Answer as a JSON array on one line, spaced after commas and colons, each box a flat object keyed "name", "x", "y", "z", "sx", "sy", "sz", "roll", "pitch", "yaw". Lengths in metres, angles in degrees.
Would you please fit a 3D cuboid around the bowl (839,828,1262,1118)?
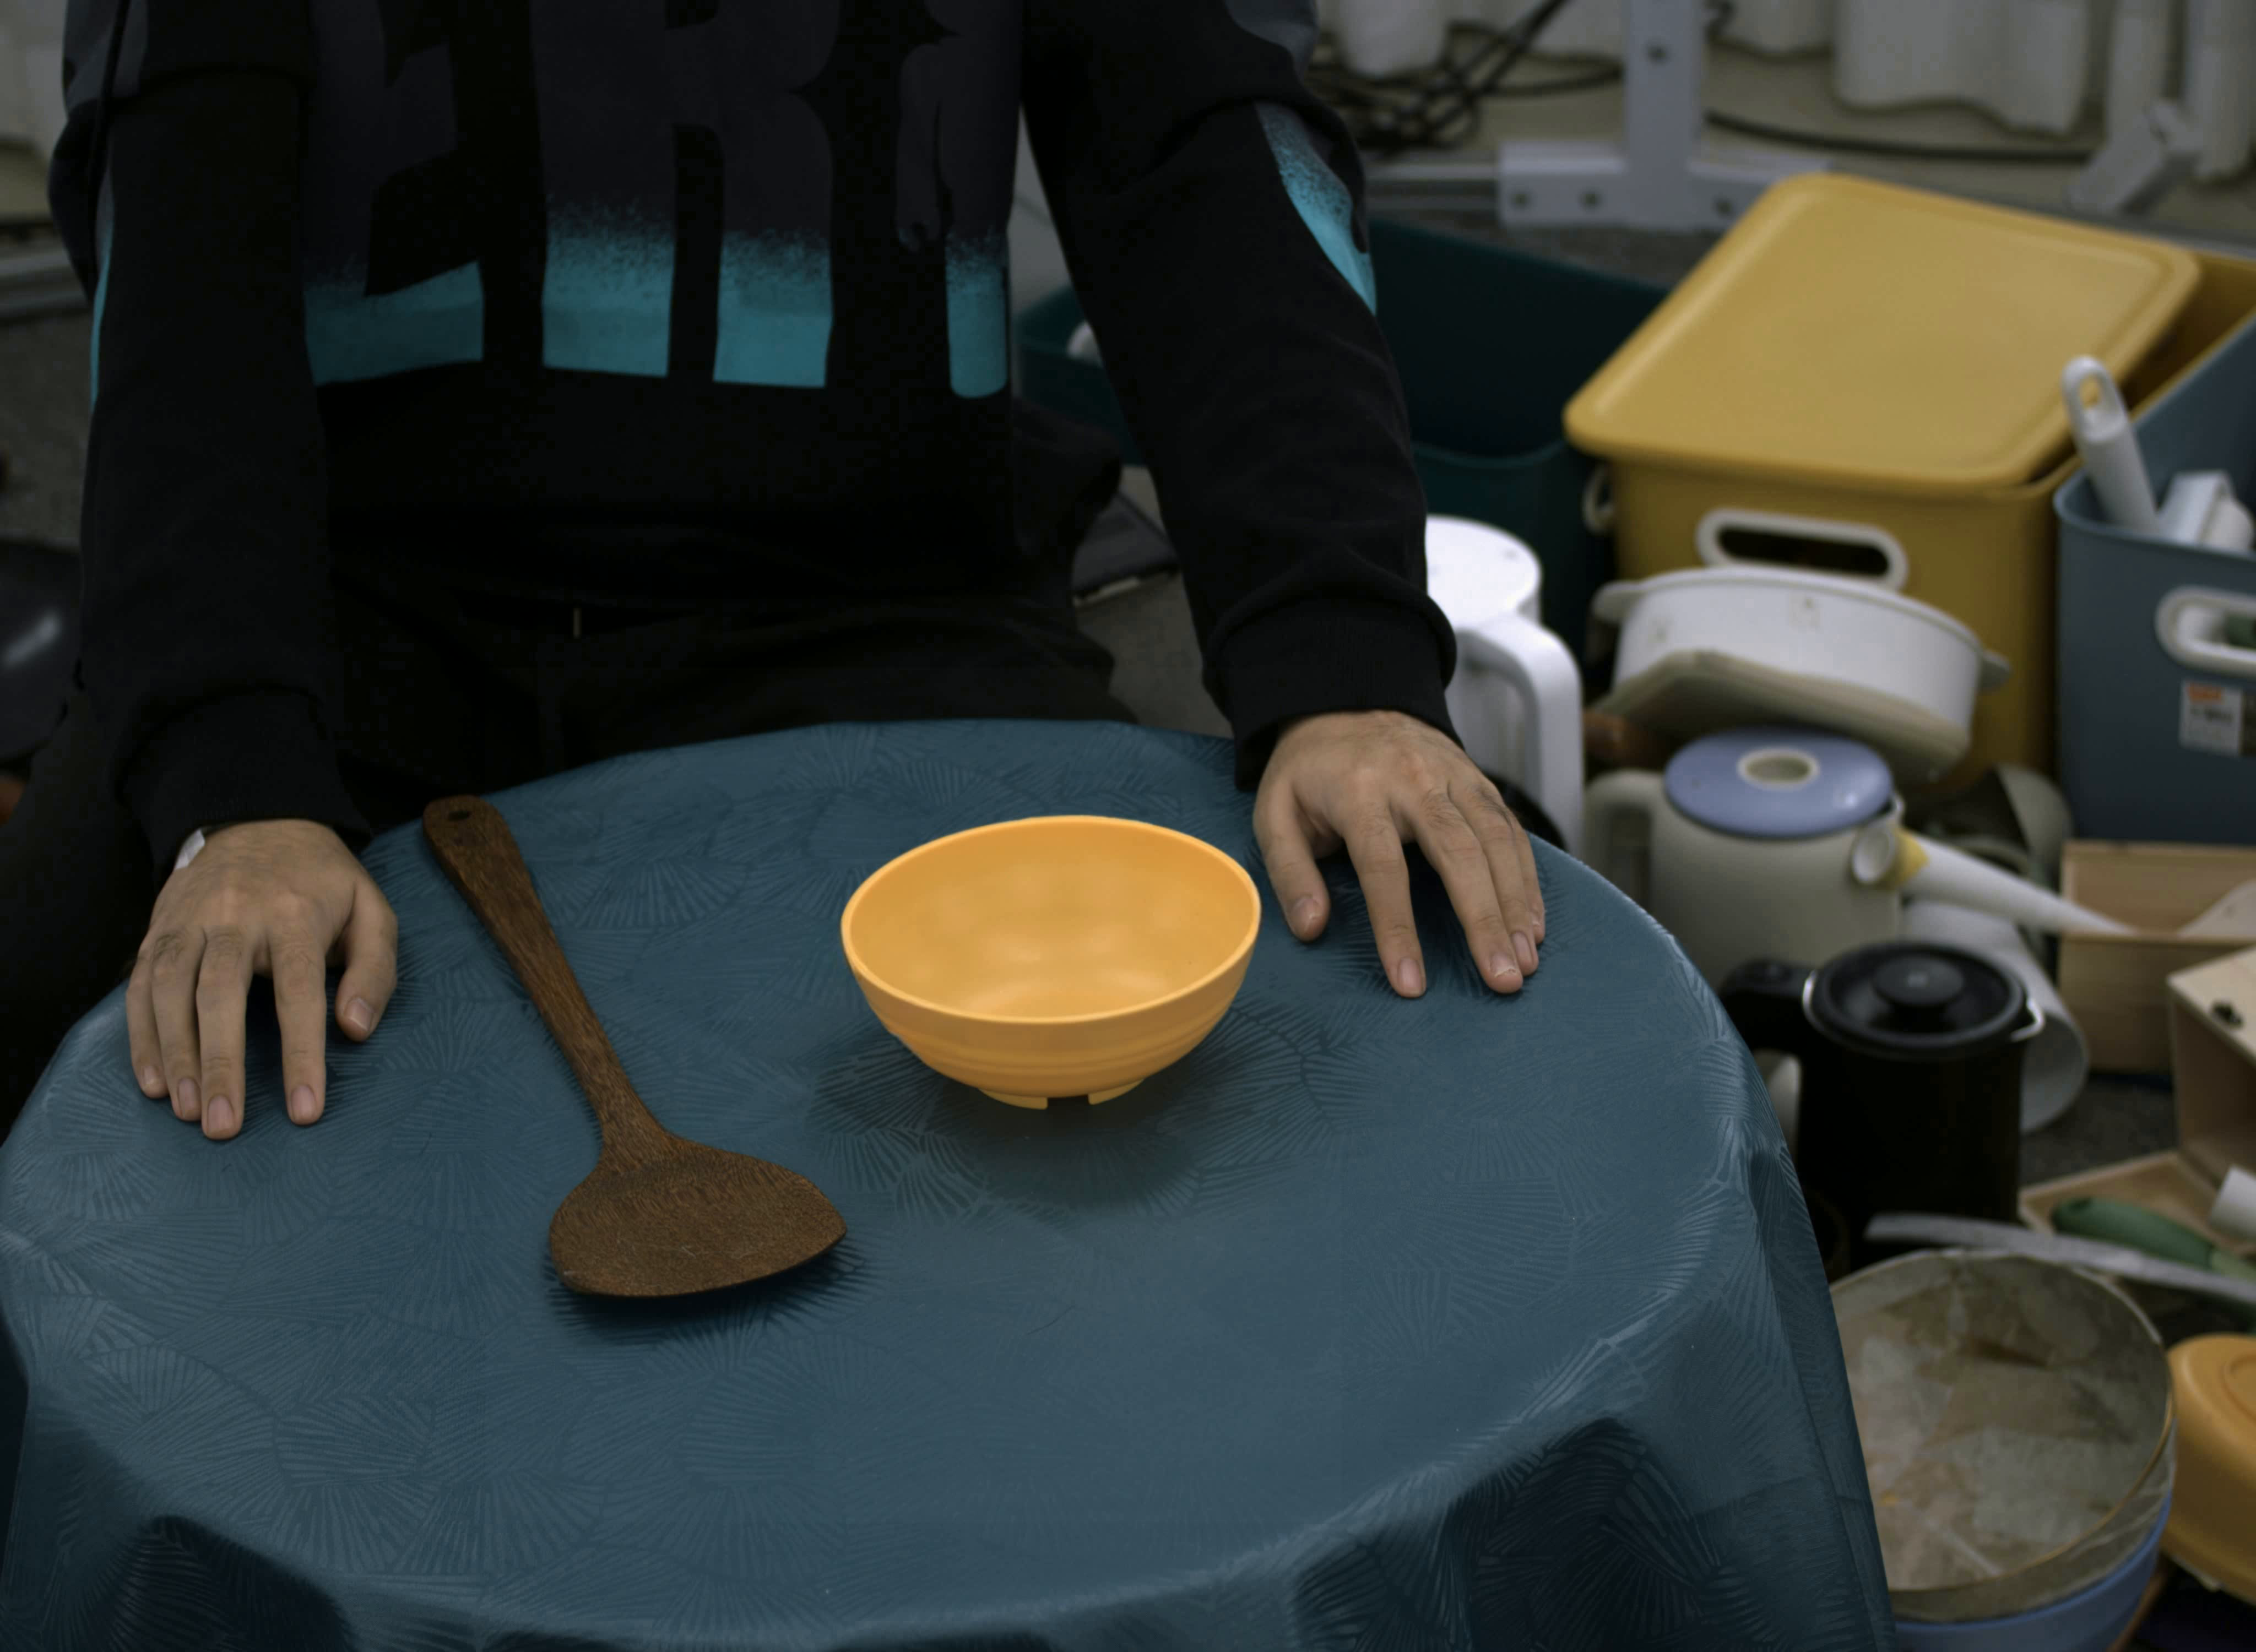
[{"name": "bowl", "x": -0.026, "y": 0.059, "z": 1.927, "sx": 0.144, "sy": 0.059, "sz": 0.147, "roll": 0, "pitch": 25, "yaw": 0}]

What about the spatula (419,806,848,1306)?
[{"name": "spatula", "x": -0.193, "y": 0.072, "z": 1.963, "sx": 0.096, "sy": 0.015, "sz": 0.389, "roll": -11, "pitch": 28, "yaw": -16}]
